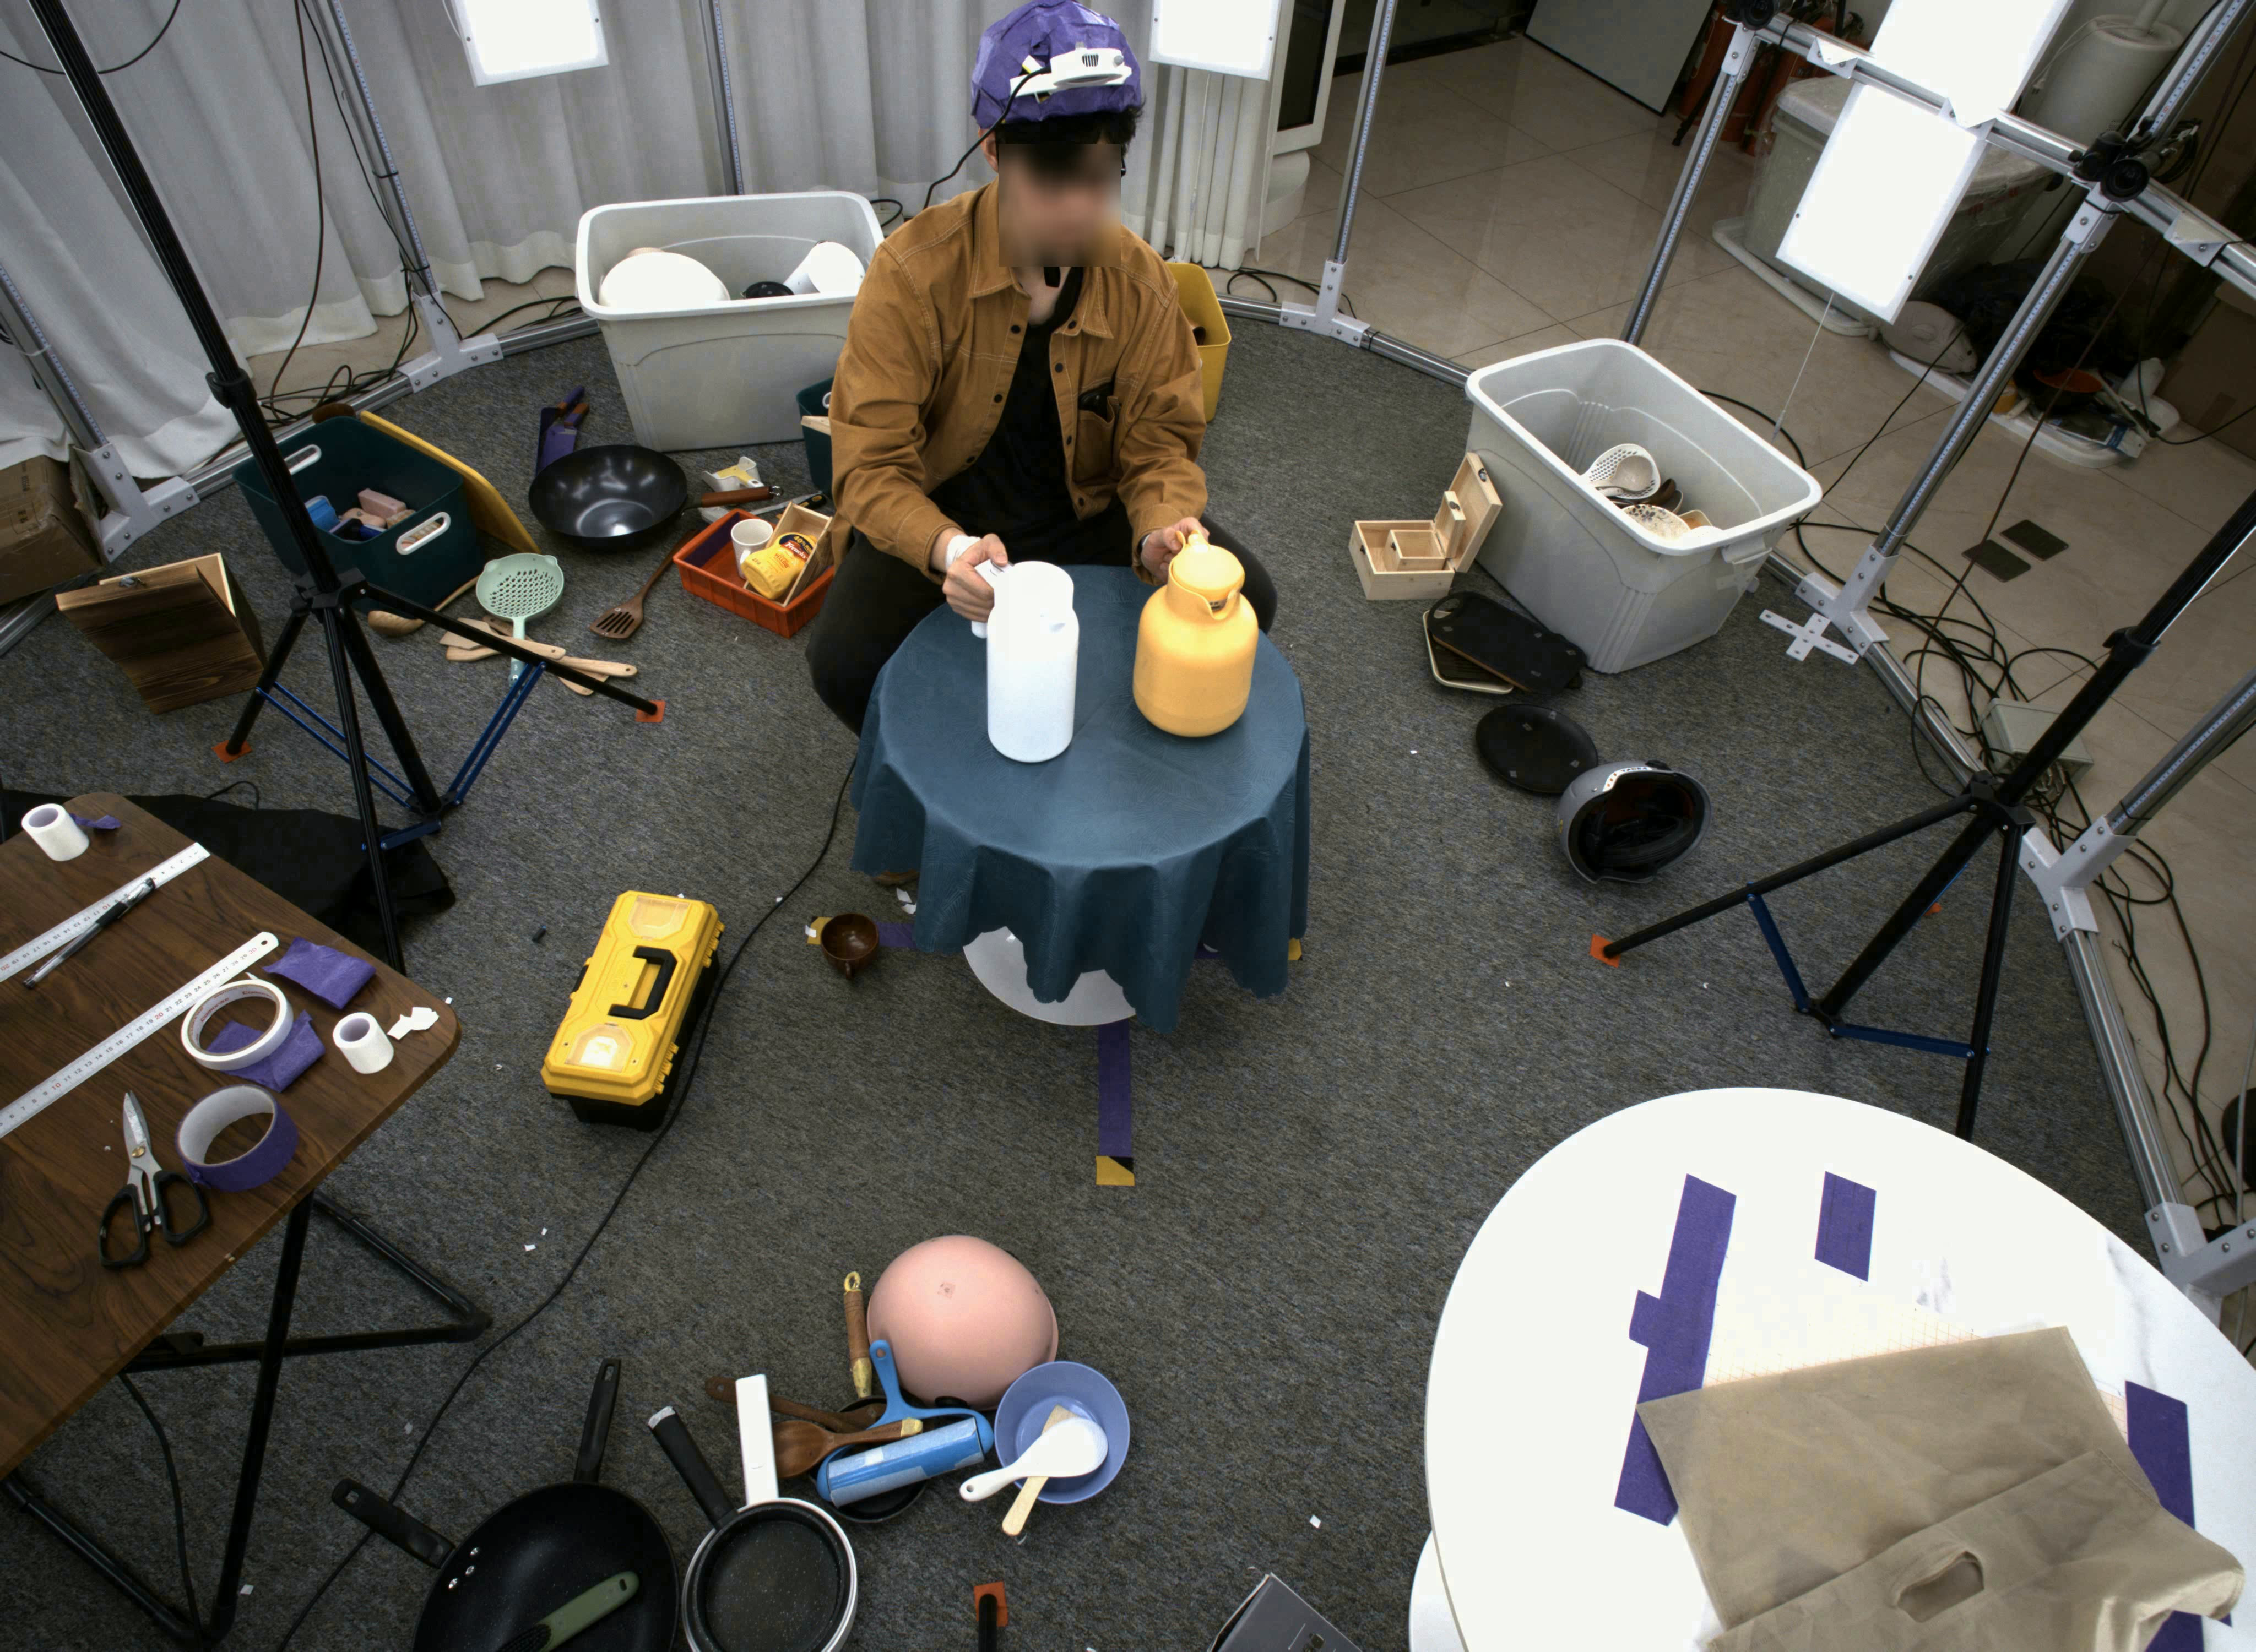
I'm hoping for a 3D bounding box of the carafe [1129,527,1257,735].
[{"bbox_3d":[0.089,-0.270,1.739,0.163,0.254,0.207,-3,51,-11],"label":"carafe"}]

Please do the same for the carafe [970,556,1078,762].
[{"bbox_3d":[-0.139,-0.220,1.678,0.125,0.262,0.175,-36,61,-27],"label":"carafe"}]
